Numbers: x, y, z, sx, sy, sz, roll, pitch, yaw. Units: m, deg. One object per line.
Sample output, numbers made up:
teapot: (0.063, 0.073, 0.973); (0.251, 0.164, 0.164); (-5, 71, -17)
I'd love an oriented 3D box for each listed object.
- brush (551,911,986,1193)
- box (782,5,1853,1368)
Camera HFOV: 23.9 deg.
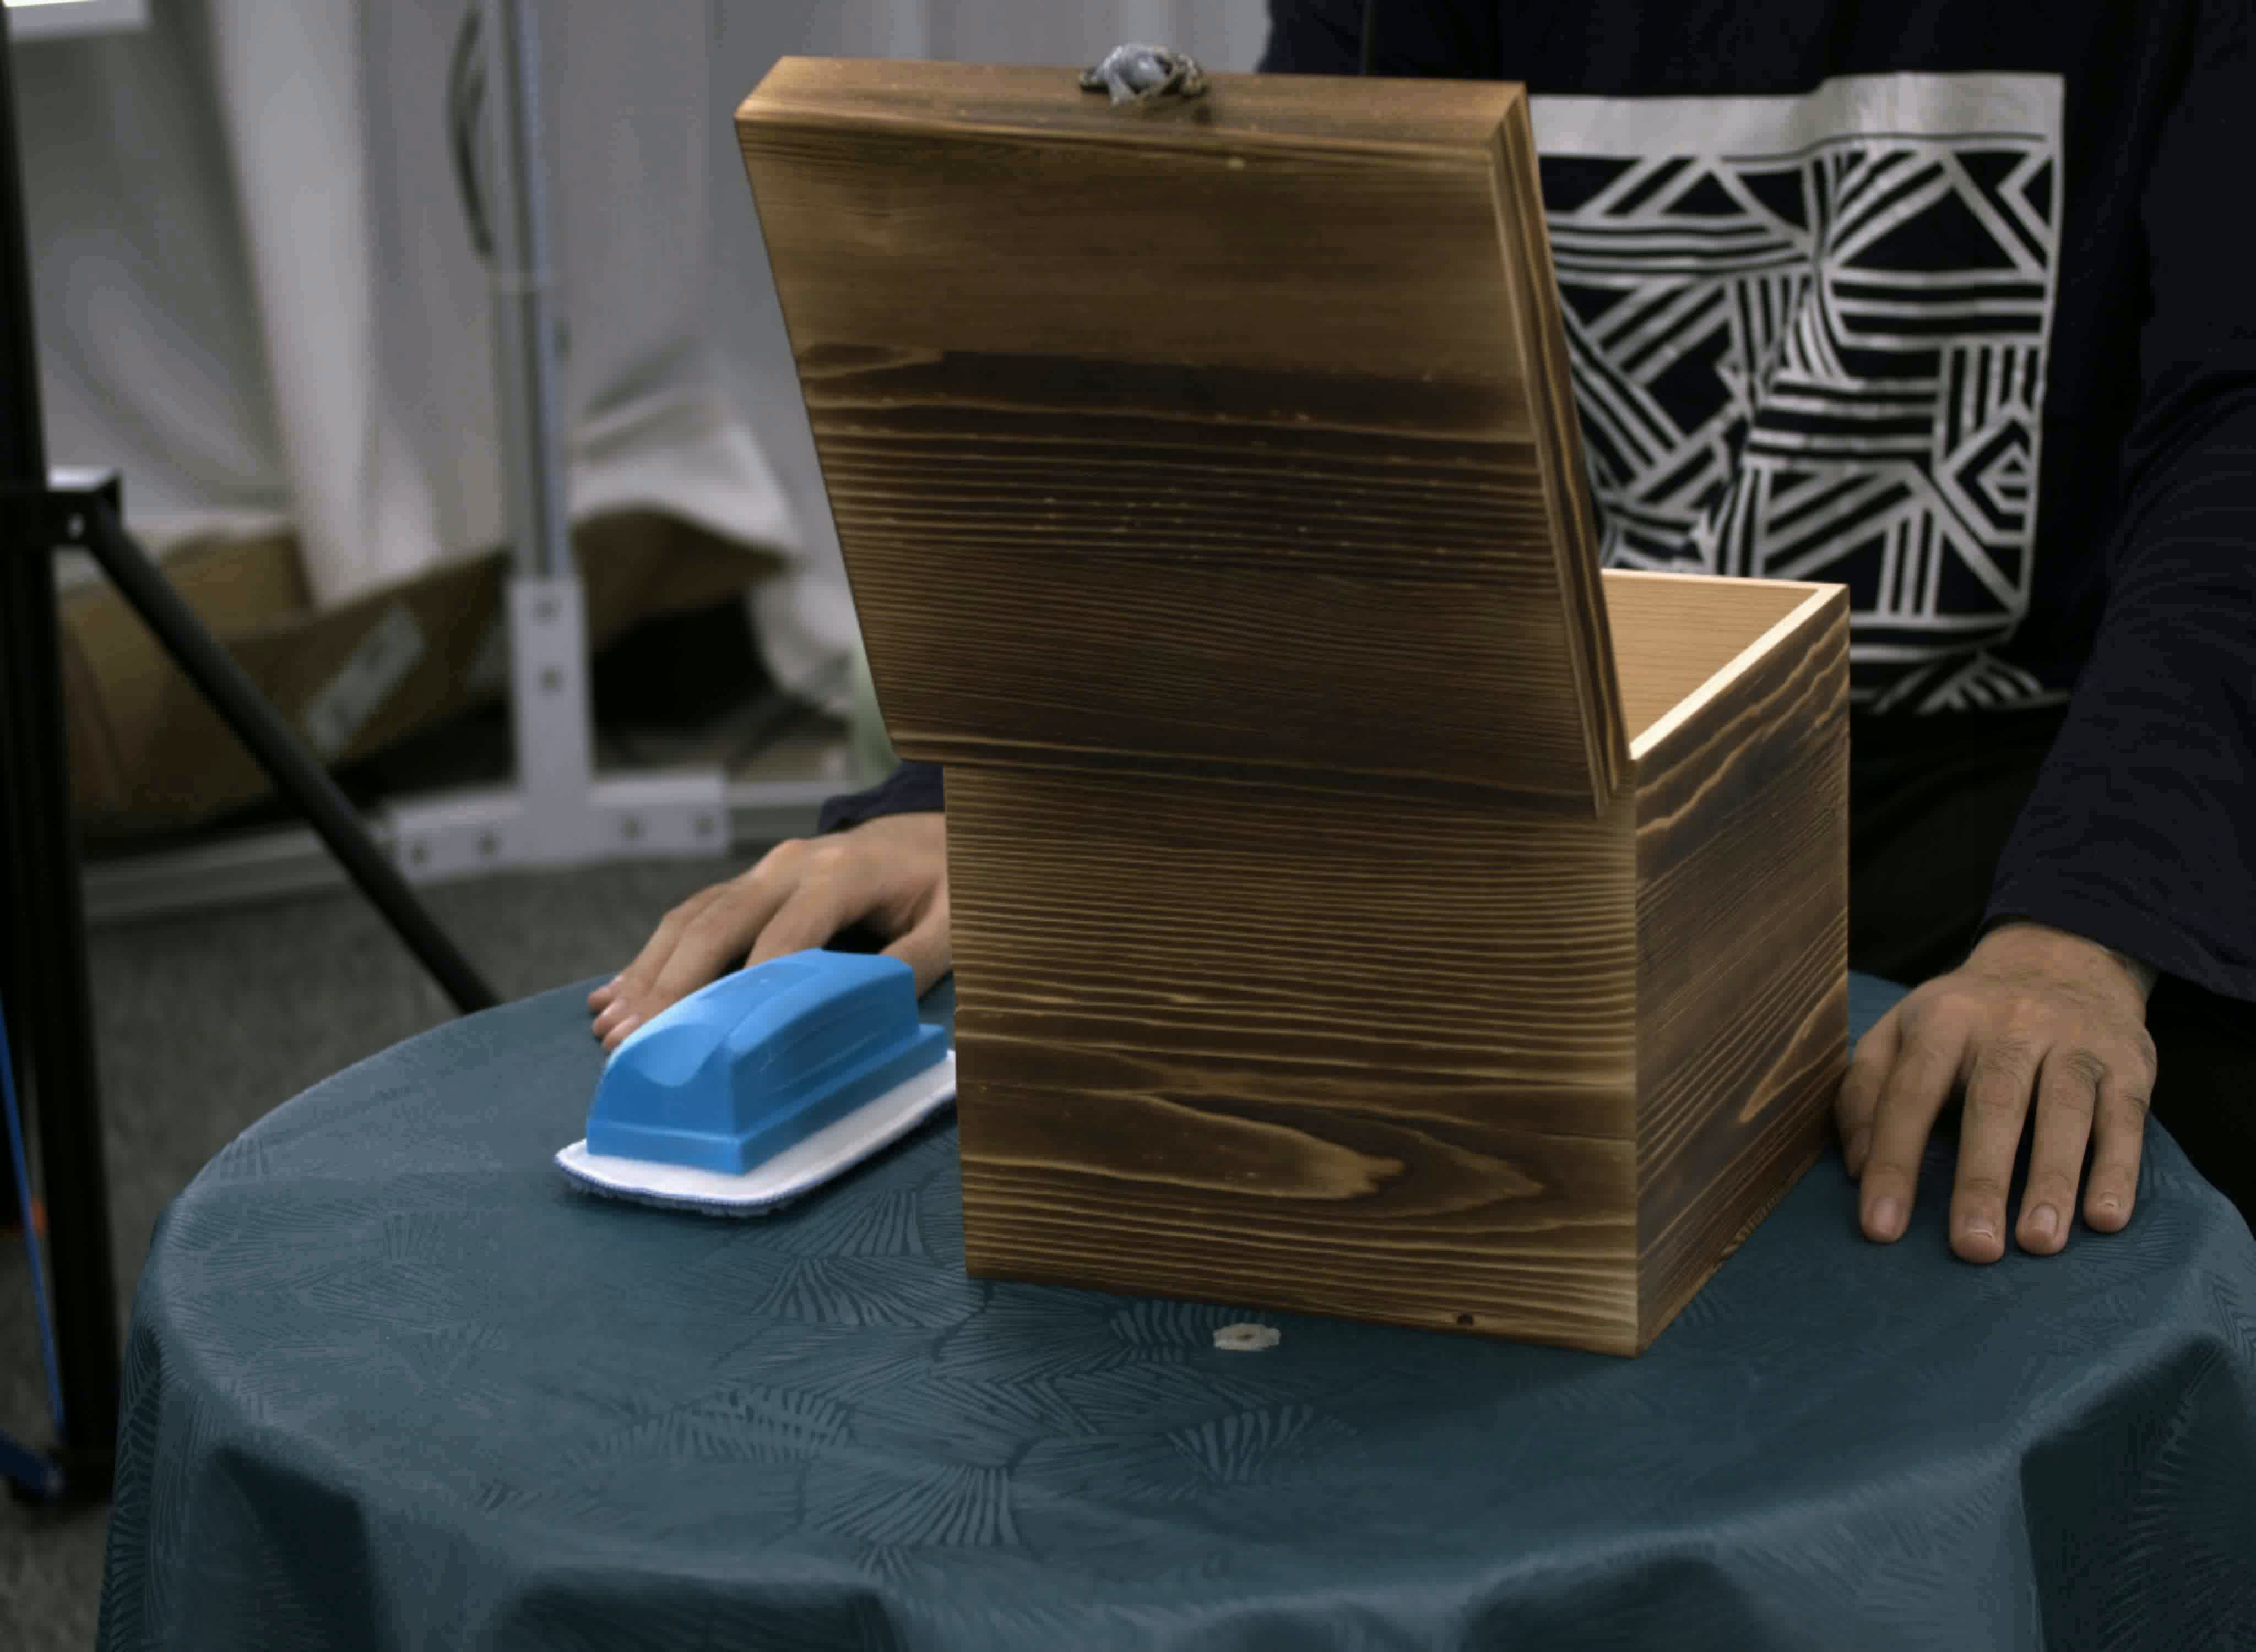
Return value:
brush: (-0.107, 0.065, 1.618); (0.085, 0.056, 0.141); (10, 22, 30)
box: (0.062, -0.051, 1.452); (0.212, 0.375, 0.317); (5, 17, 23)
